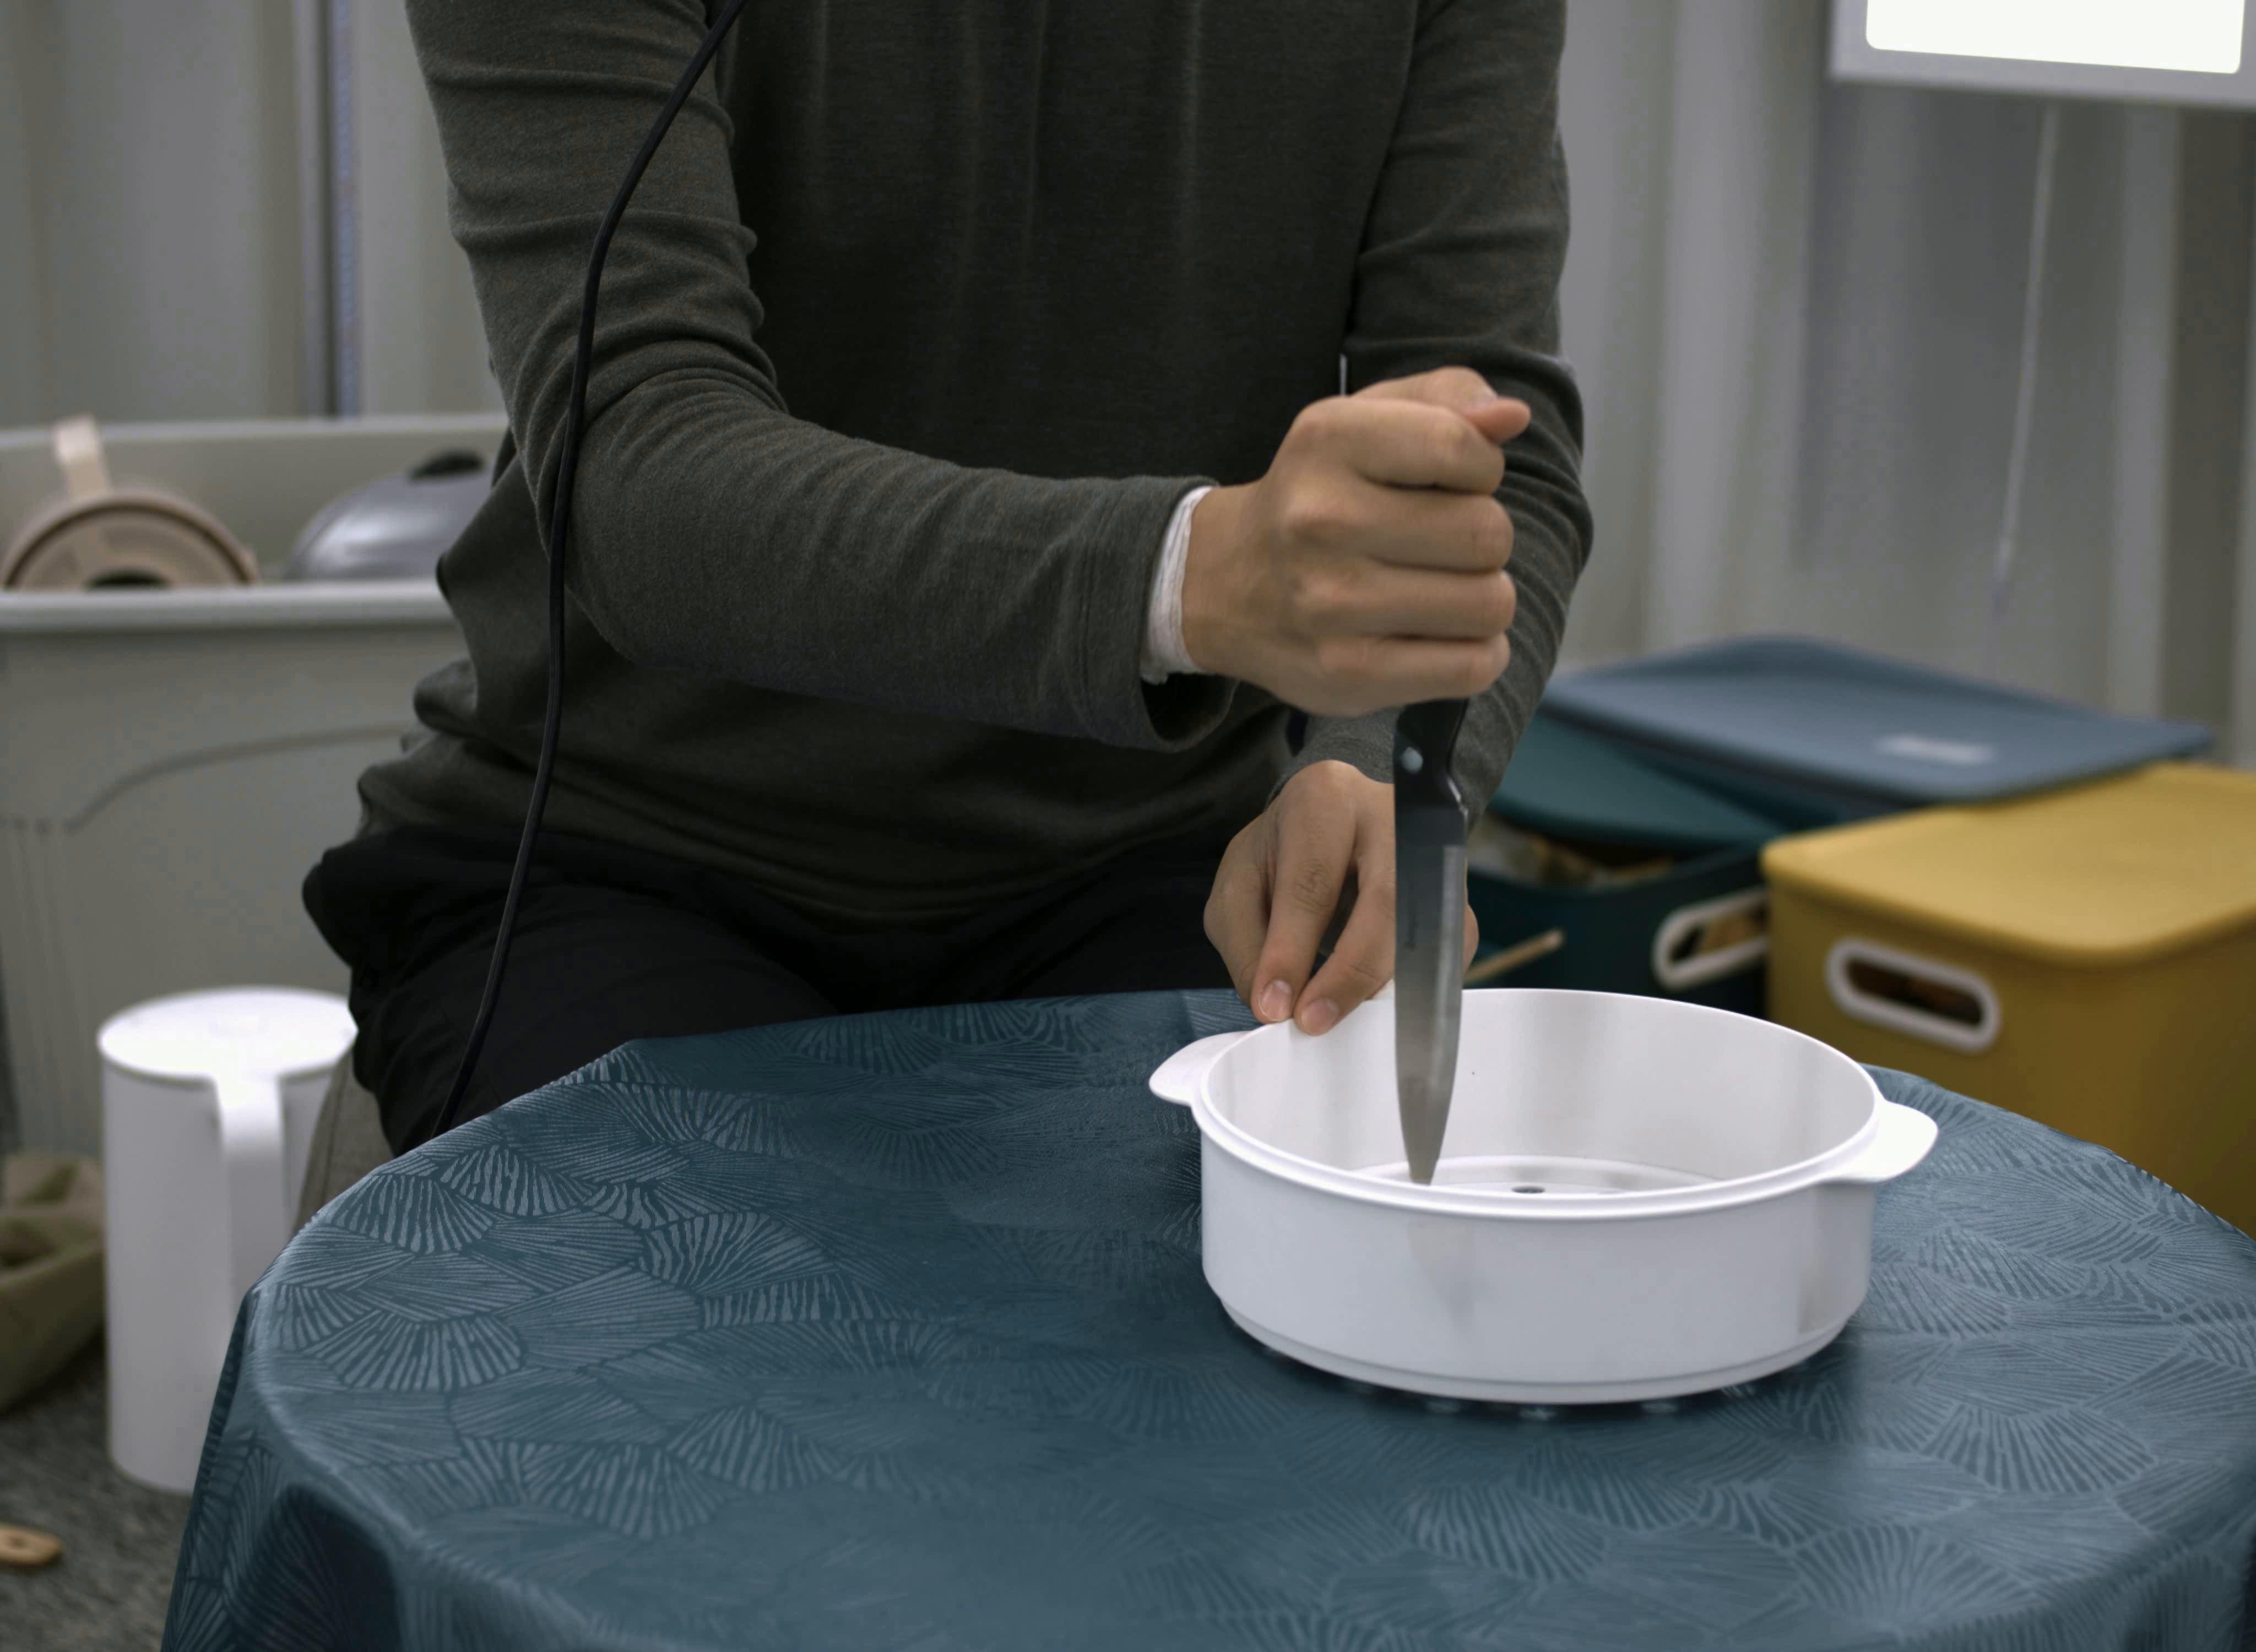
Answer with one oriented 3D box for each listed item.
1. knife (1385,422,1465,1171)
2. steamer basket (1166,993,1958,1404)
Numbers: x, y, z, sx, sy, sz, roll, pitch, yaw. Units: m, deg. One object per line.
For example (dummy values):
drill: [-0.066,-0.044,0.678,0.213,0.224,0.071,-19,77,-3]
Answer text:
knife: [0.085,0.001,1.507,0.024,0.240,0.016,11,23,31]
steamer basket: [0.123,0.106,1.522,0.228,0.070,0.202,6,16,21]
